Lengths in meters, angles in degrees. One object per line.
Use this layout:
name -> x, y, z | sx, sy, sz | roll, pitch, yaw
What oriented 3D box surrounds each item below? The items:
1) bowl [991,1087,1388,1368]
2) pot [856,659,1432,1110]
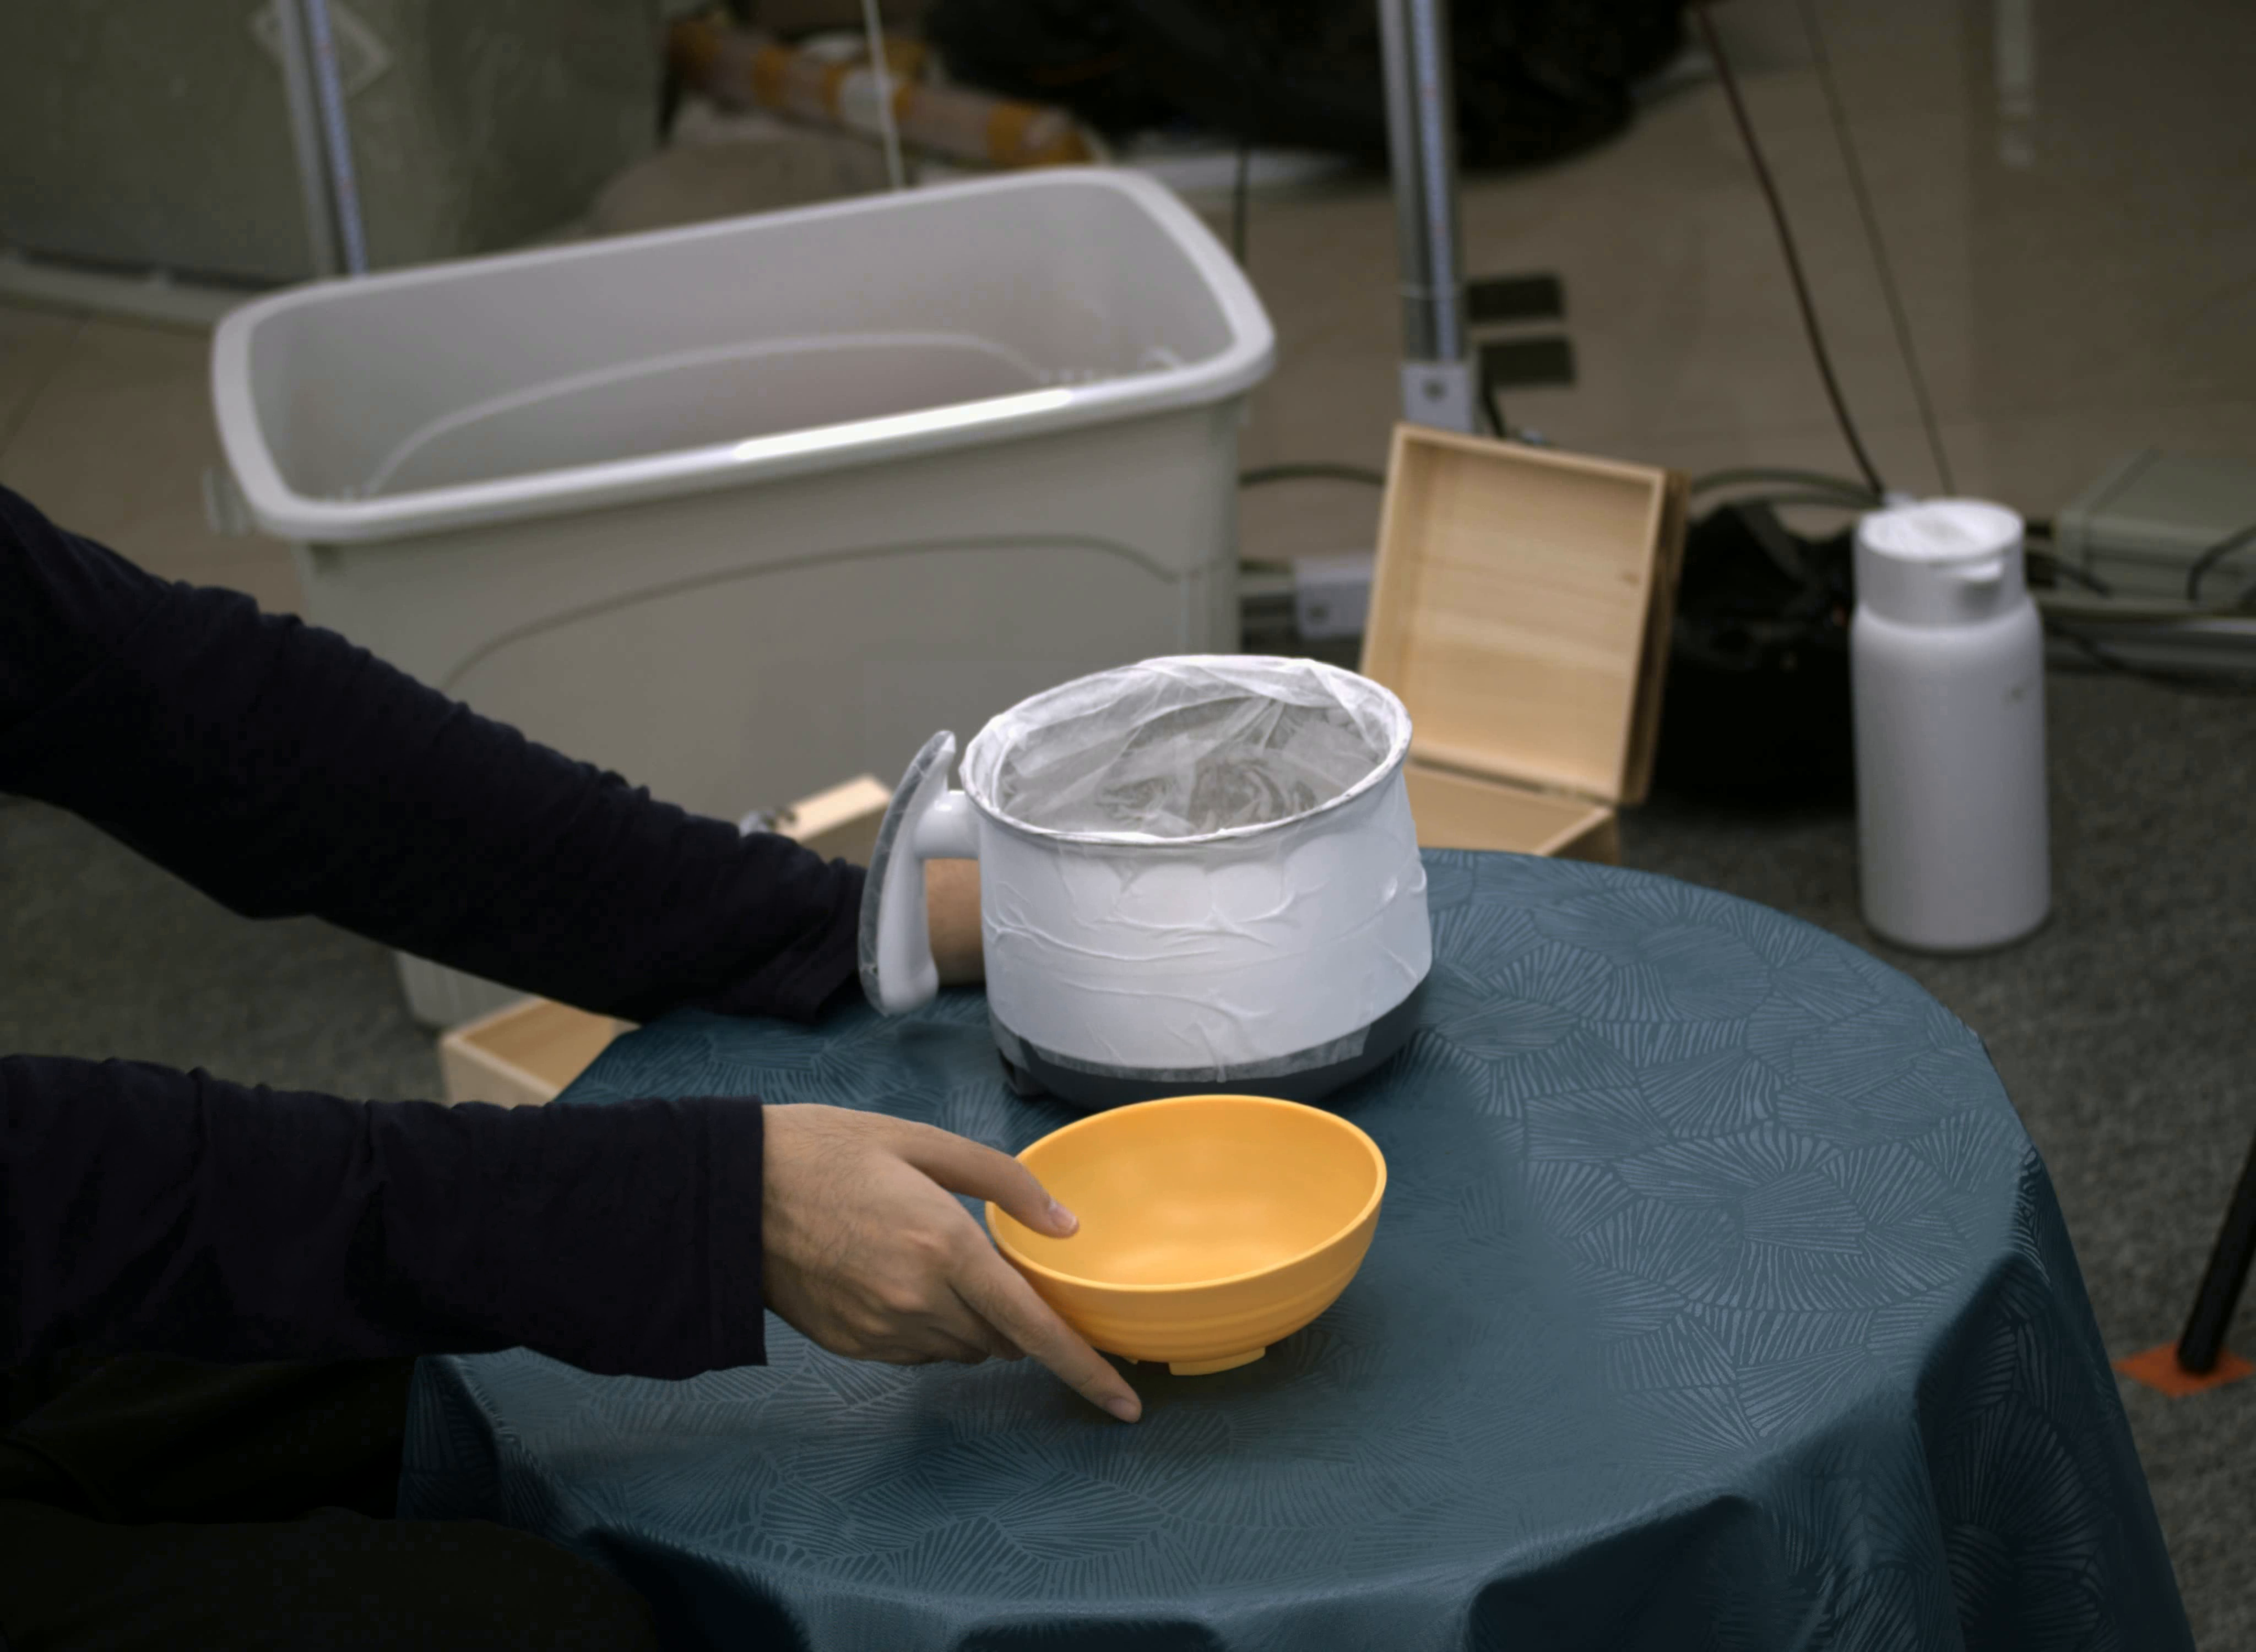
bowl -> 0.026, 0.154, 2.039 | 0.145, 0.061, 0.143 | -6, 26, 3
pot -> 0.003, 0.025, 2.229 | 0.233, 0.138, 0.176 | 1, 23, 14
